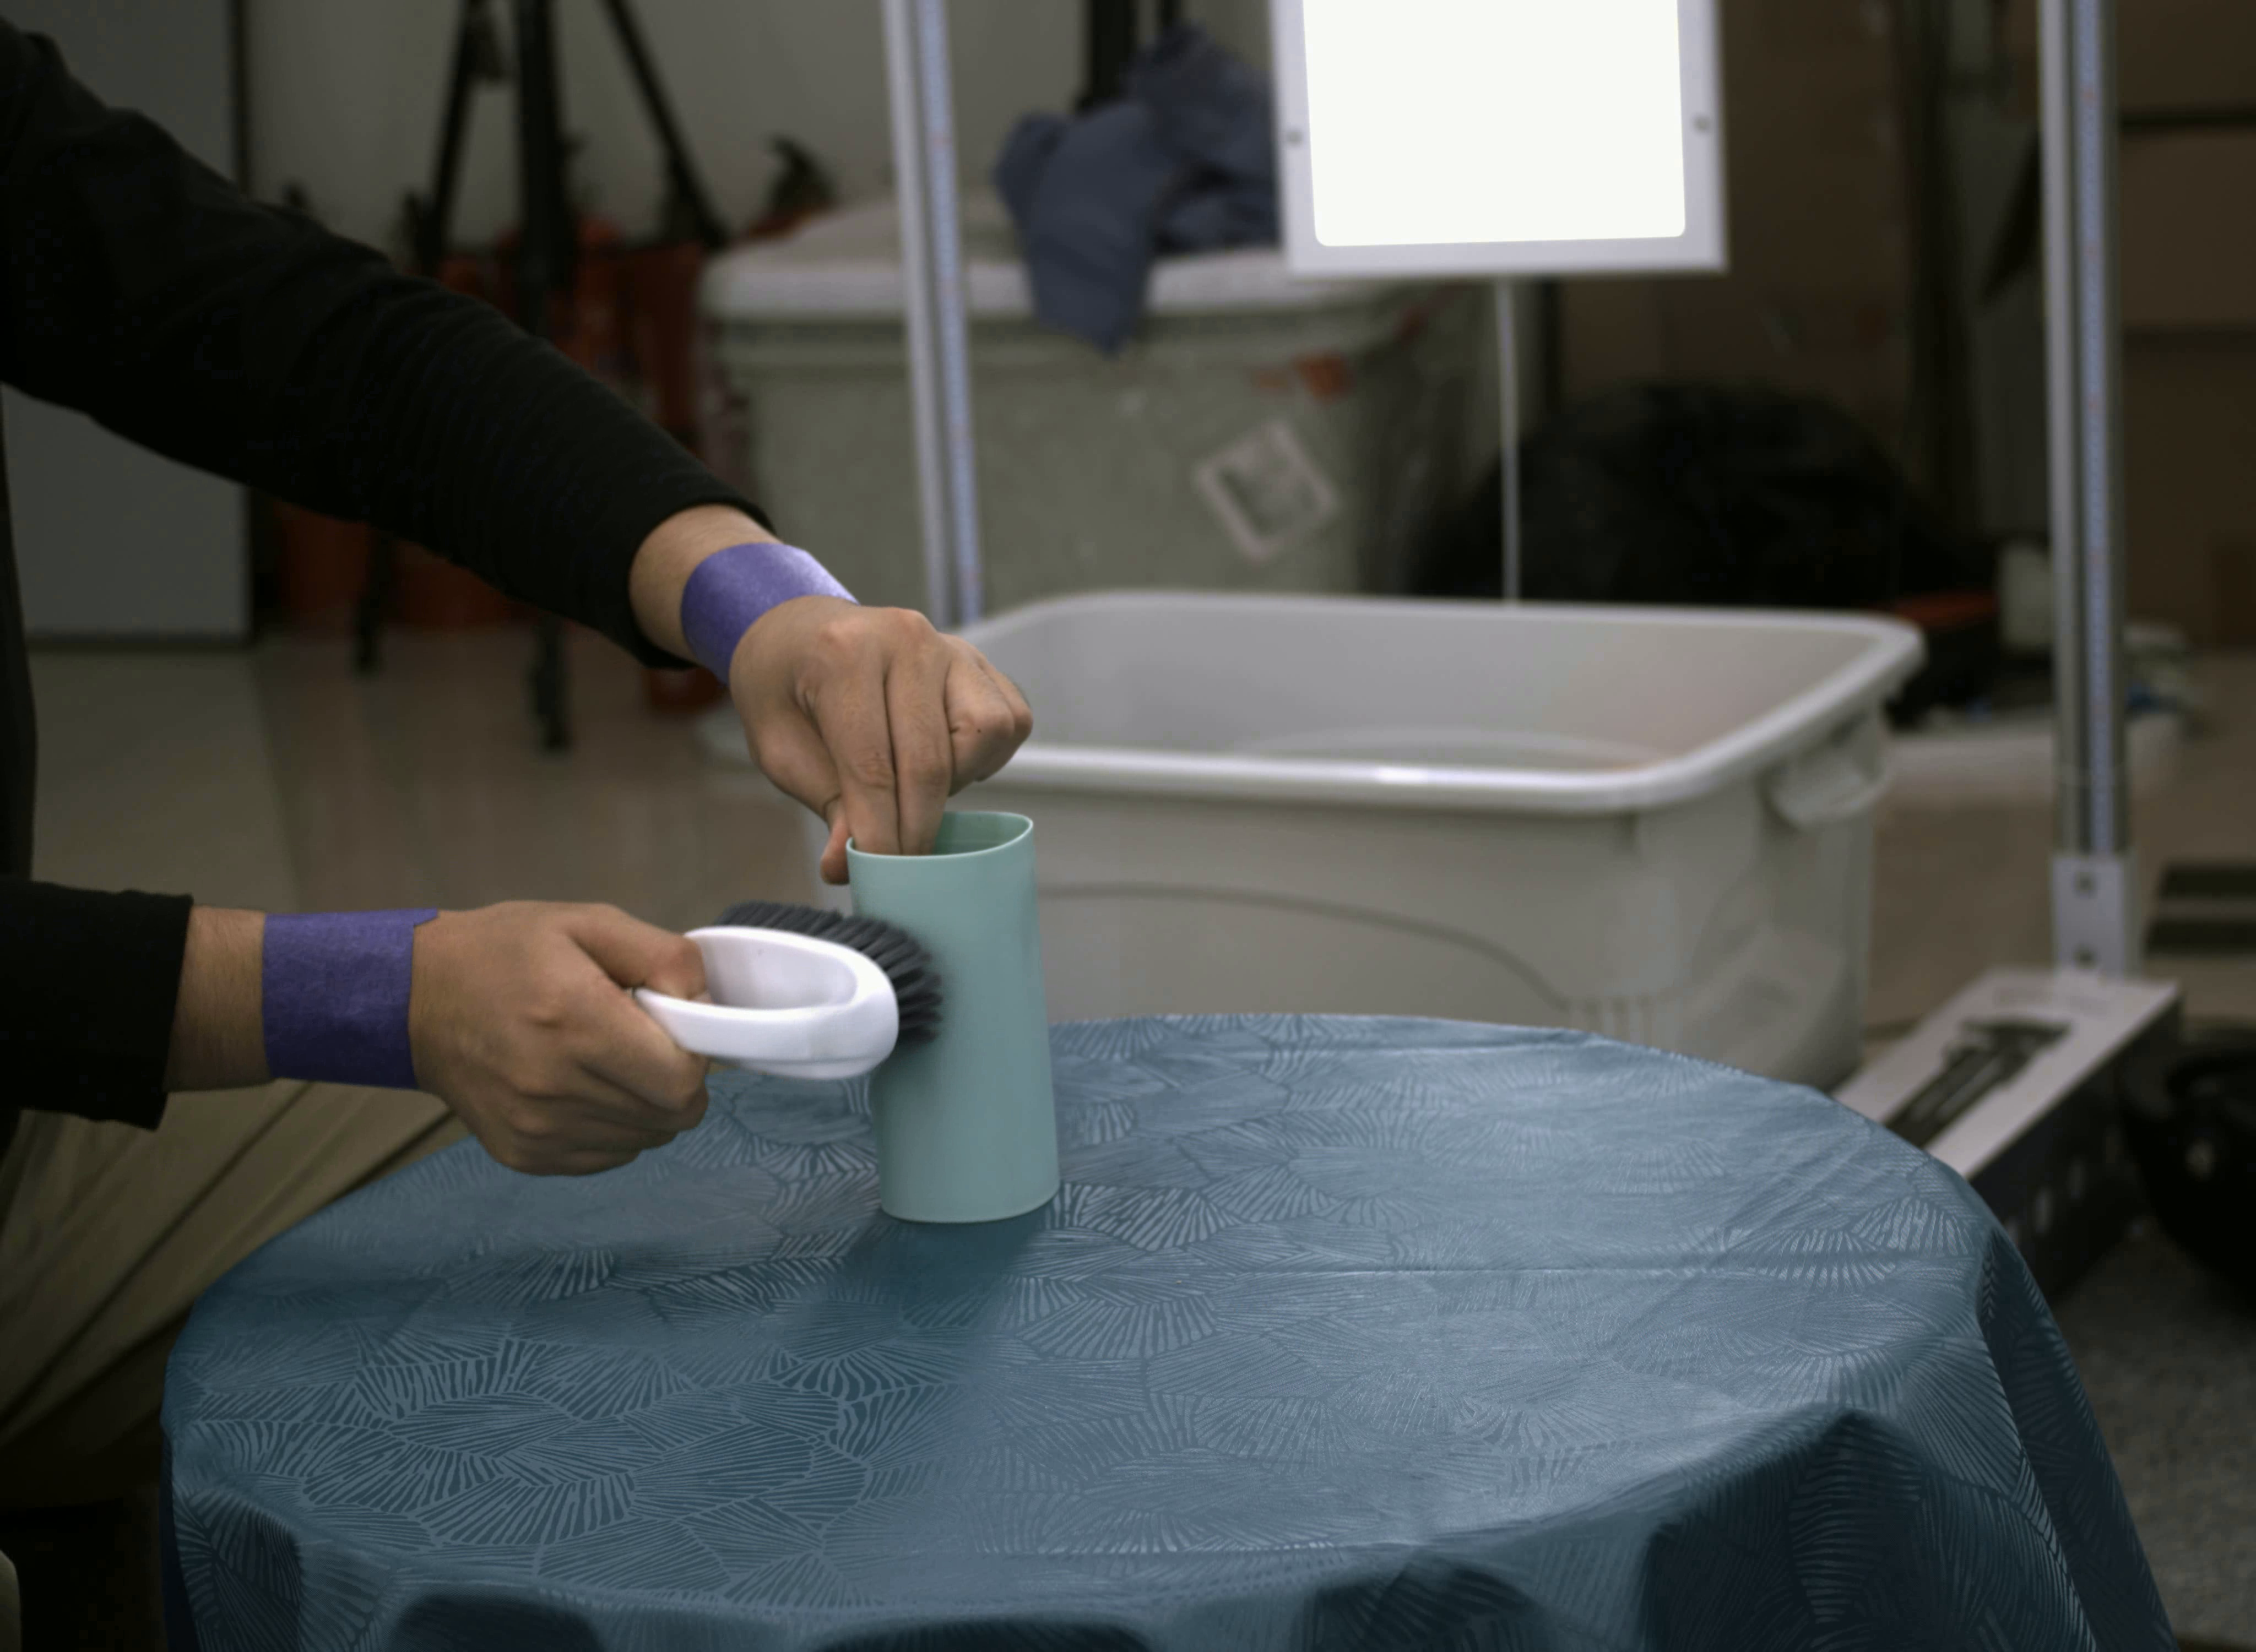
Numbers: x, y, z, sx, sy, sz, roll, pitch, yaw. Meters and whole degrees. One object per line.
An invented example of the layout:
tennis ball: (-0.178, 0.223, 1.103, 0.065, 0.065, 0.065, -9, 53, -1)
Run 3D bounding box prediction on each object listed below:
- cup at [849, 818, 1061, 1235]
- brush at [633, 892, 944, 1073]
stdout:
cup: (-0.059, 0.069, 1.895, 0.066, 0.133, 0.066, -4, 15, 0)
brush: (-0.121, 0.058, 1.849, 0.101, 0.050, 0.071, 10, 20, 32)
